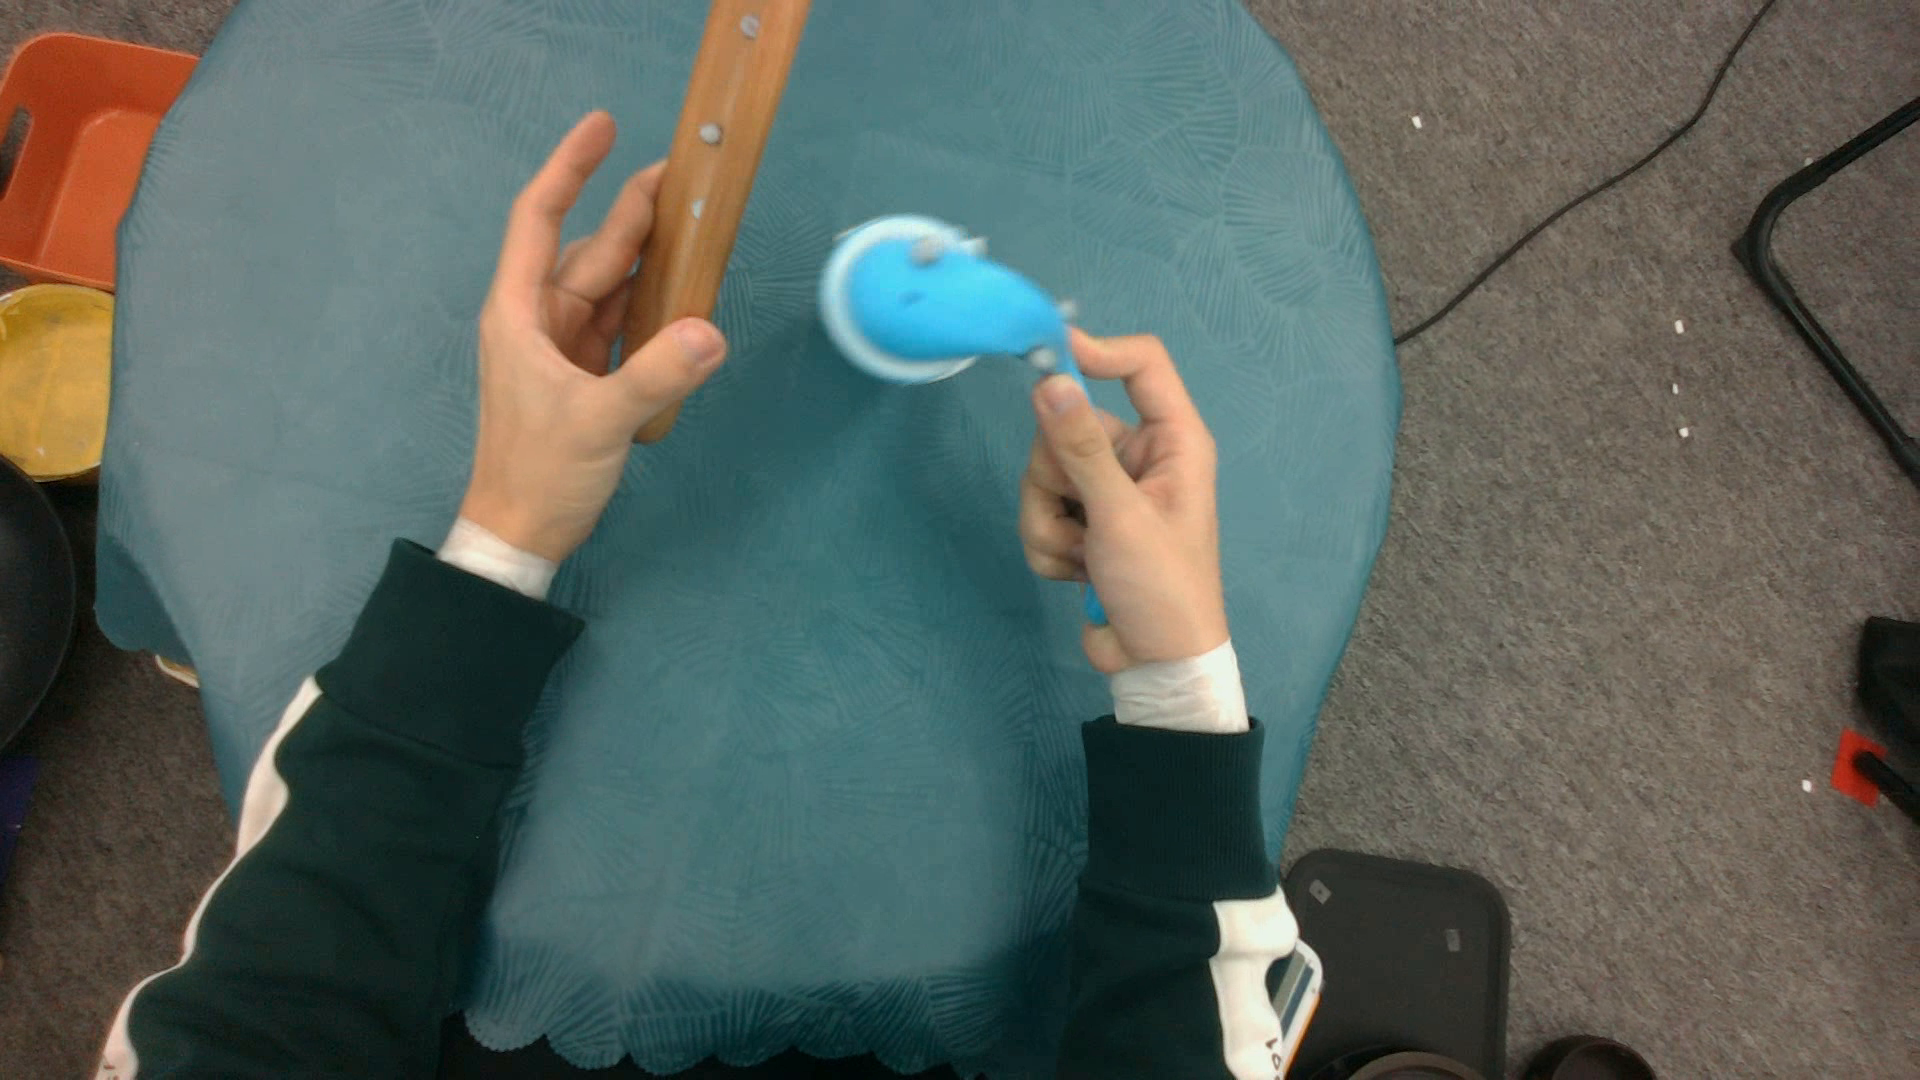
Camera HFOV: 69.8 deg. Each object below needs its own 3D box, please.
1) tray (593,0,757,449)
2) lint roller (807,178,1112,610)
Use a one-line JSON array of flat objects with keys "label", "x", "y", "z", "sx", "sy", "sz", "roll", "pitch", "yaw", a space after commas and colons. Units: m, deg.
[{"label": "tray", "x": -0.107, "y": -0.139, "z": 0.510, "sx": 0.020, "sy": 0.230, "sz": 0.102, "roll": 7, "pitch": 32, "yaw": -22}, {"label": "lint roller", "x": 0.017, "y": -0.059, "z": 0.540, "sx": 0.068, "sy": 0.229, "sz": 0.180, "roll": -42, "pitch": 107, "yaw": -4}]
